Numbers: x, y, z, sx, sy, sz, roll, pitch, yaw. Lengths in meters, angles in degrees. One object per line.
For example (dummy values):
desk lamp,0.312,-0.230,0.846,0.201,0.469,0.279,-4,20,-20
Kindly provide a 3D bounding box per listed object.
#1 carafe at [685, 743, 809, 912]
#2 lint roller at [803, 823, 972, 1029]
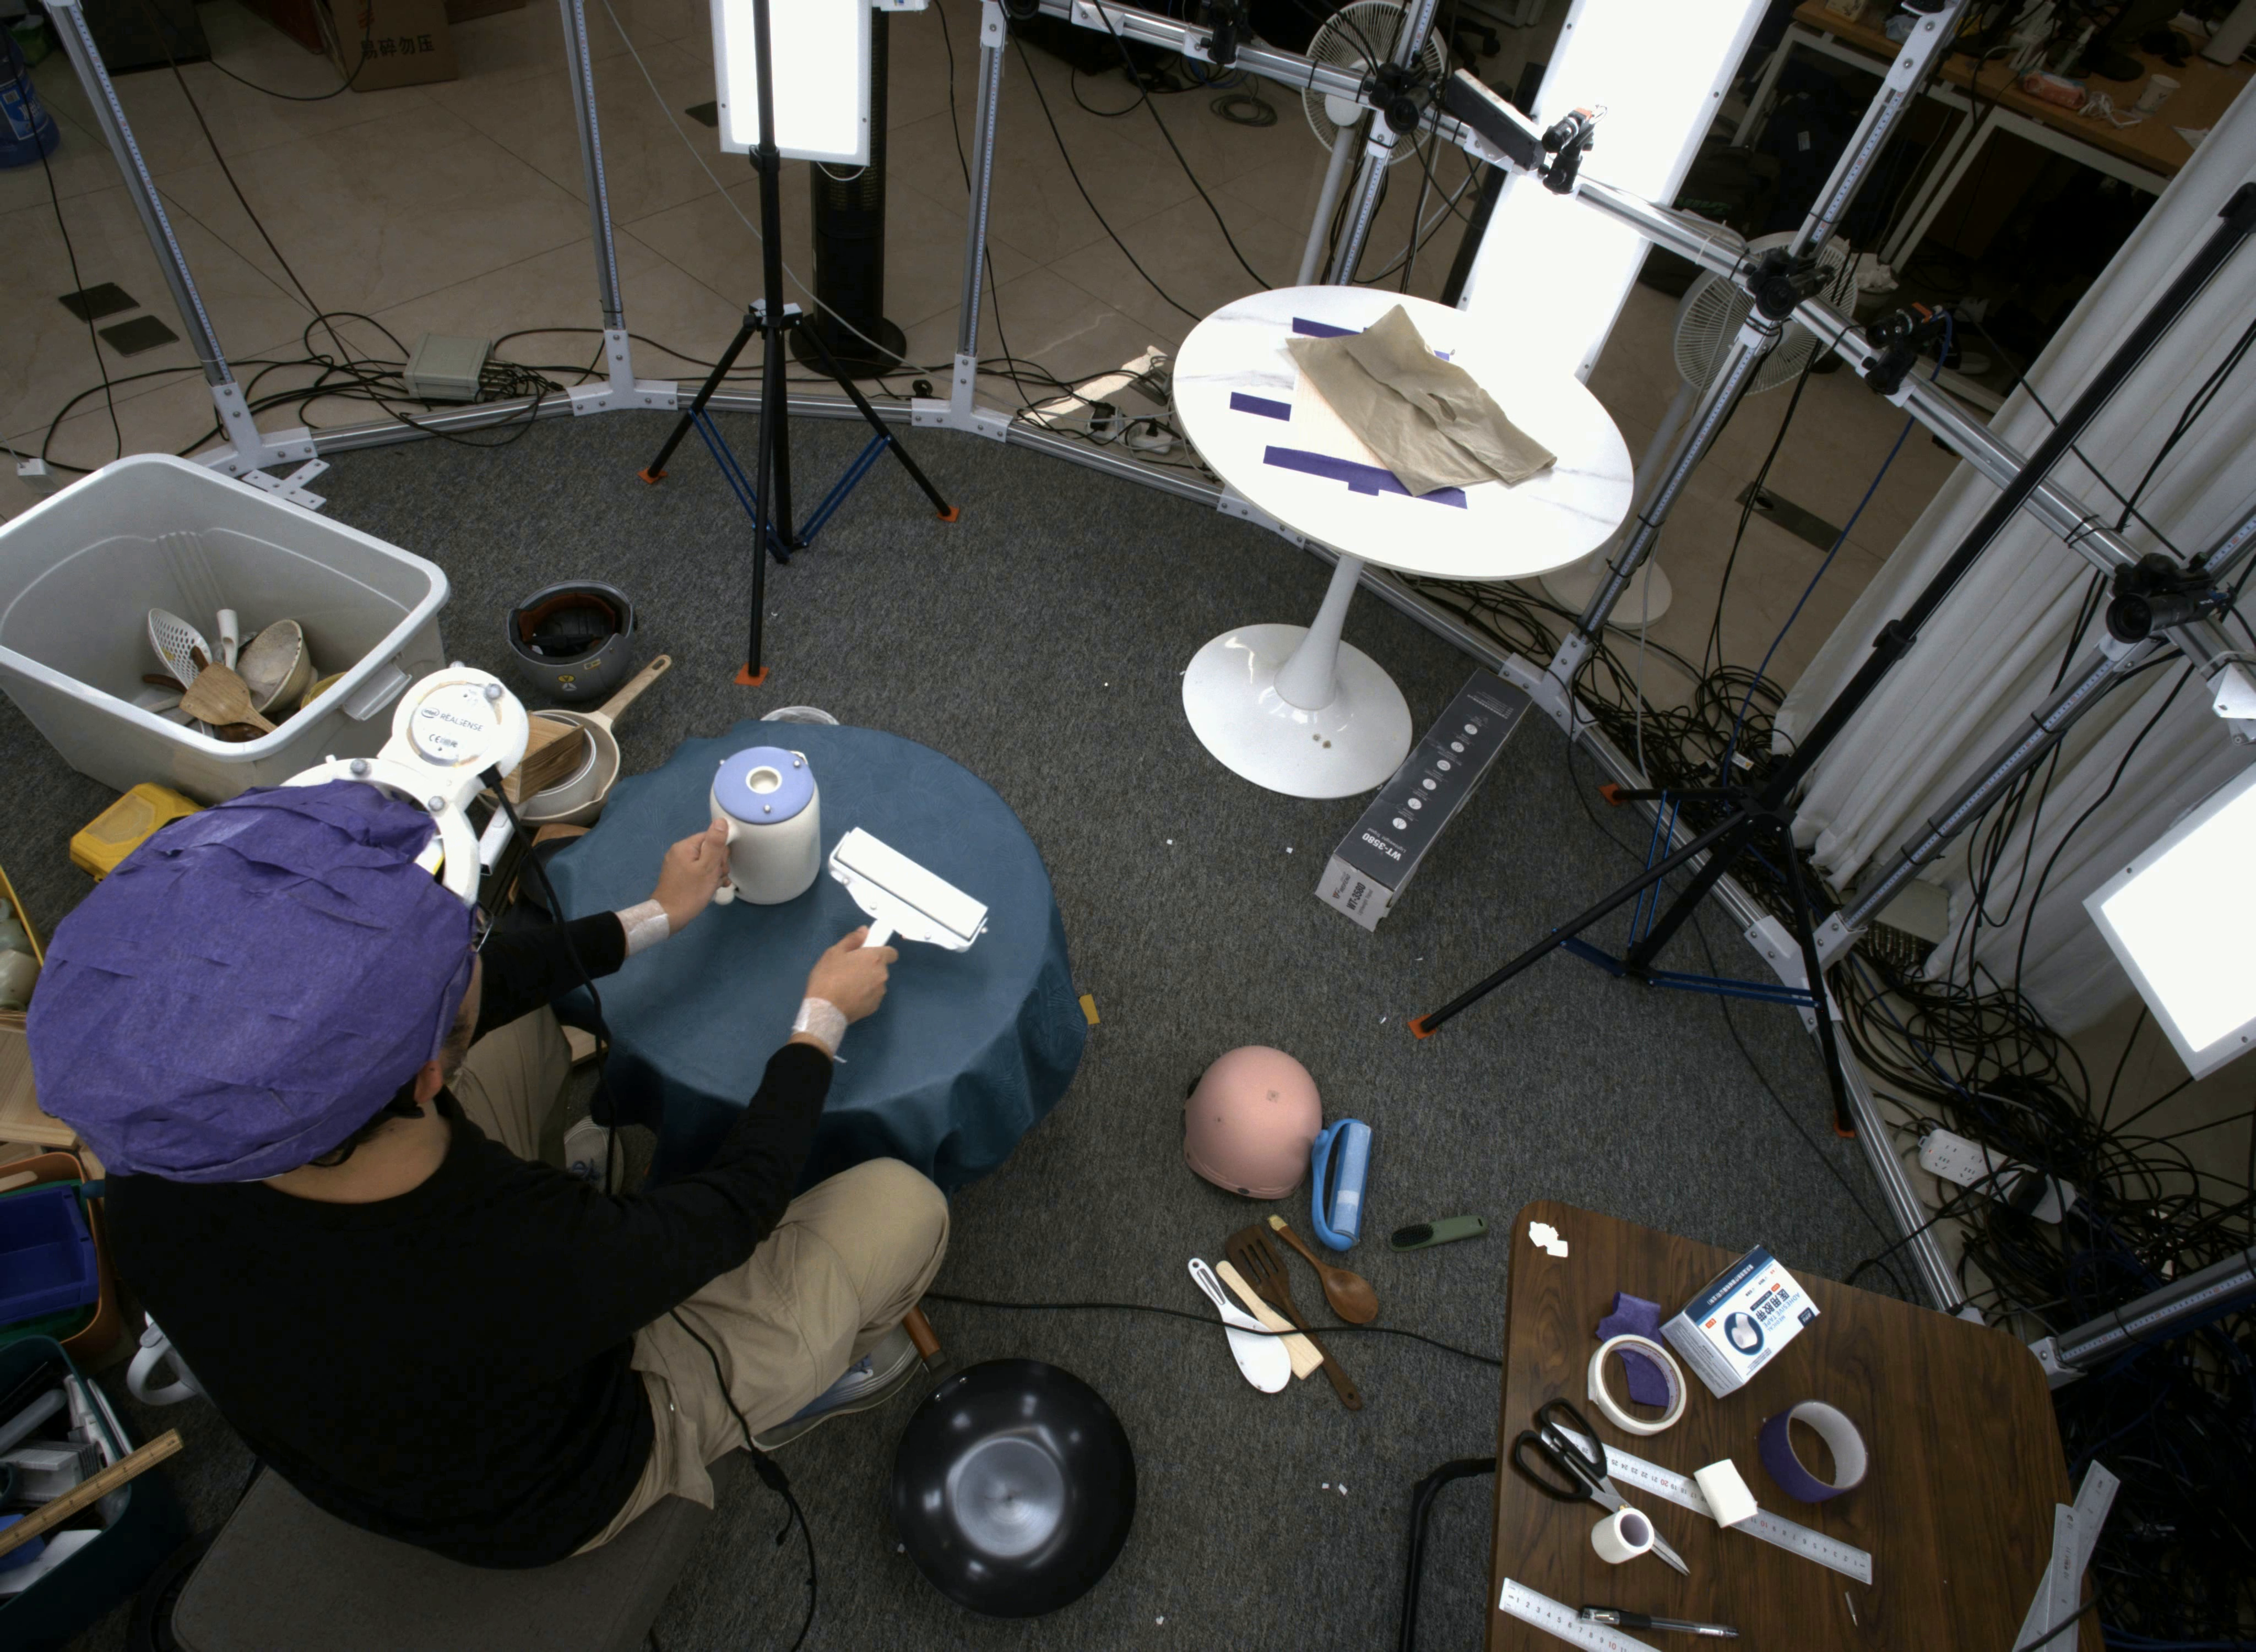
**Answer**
carafe,-0.476,0.015,1.583,0.130,0.186,0.190,28,54,11
lint roller,-0.319,0.138,1.545,0.206,0.047,0.225,36,69,-16
